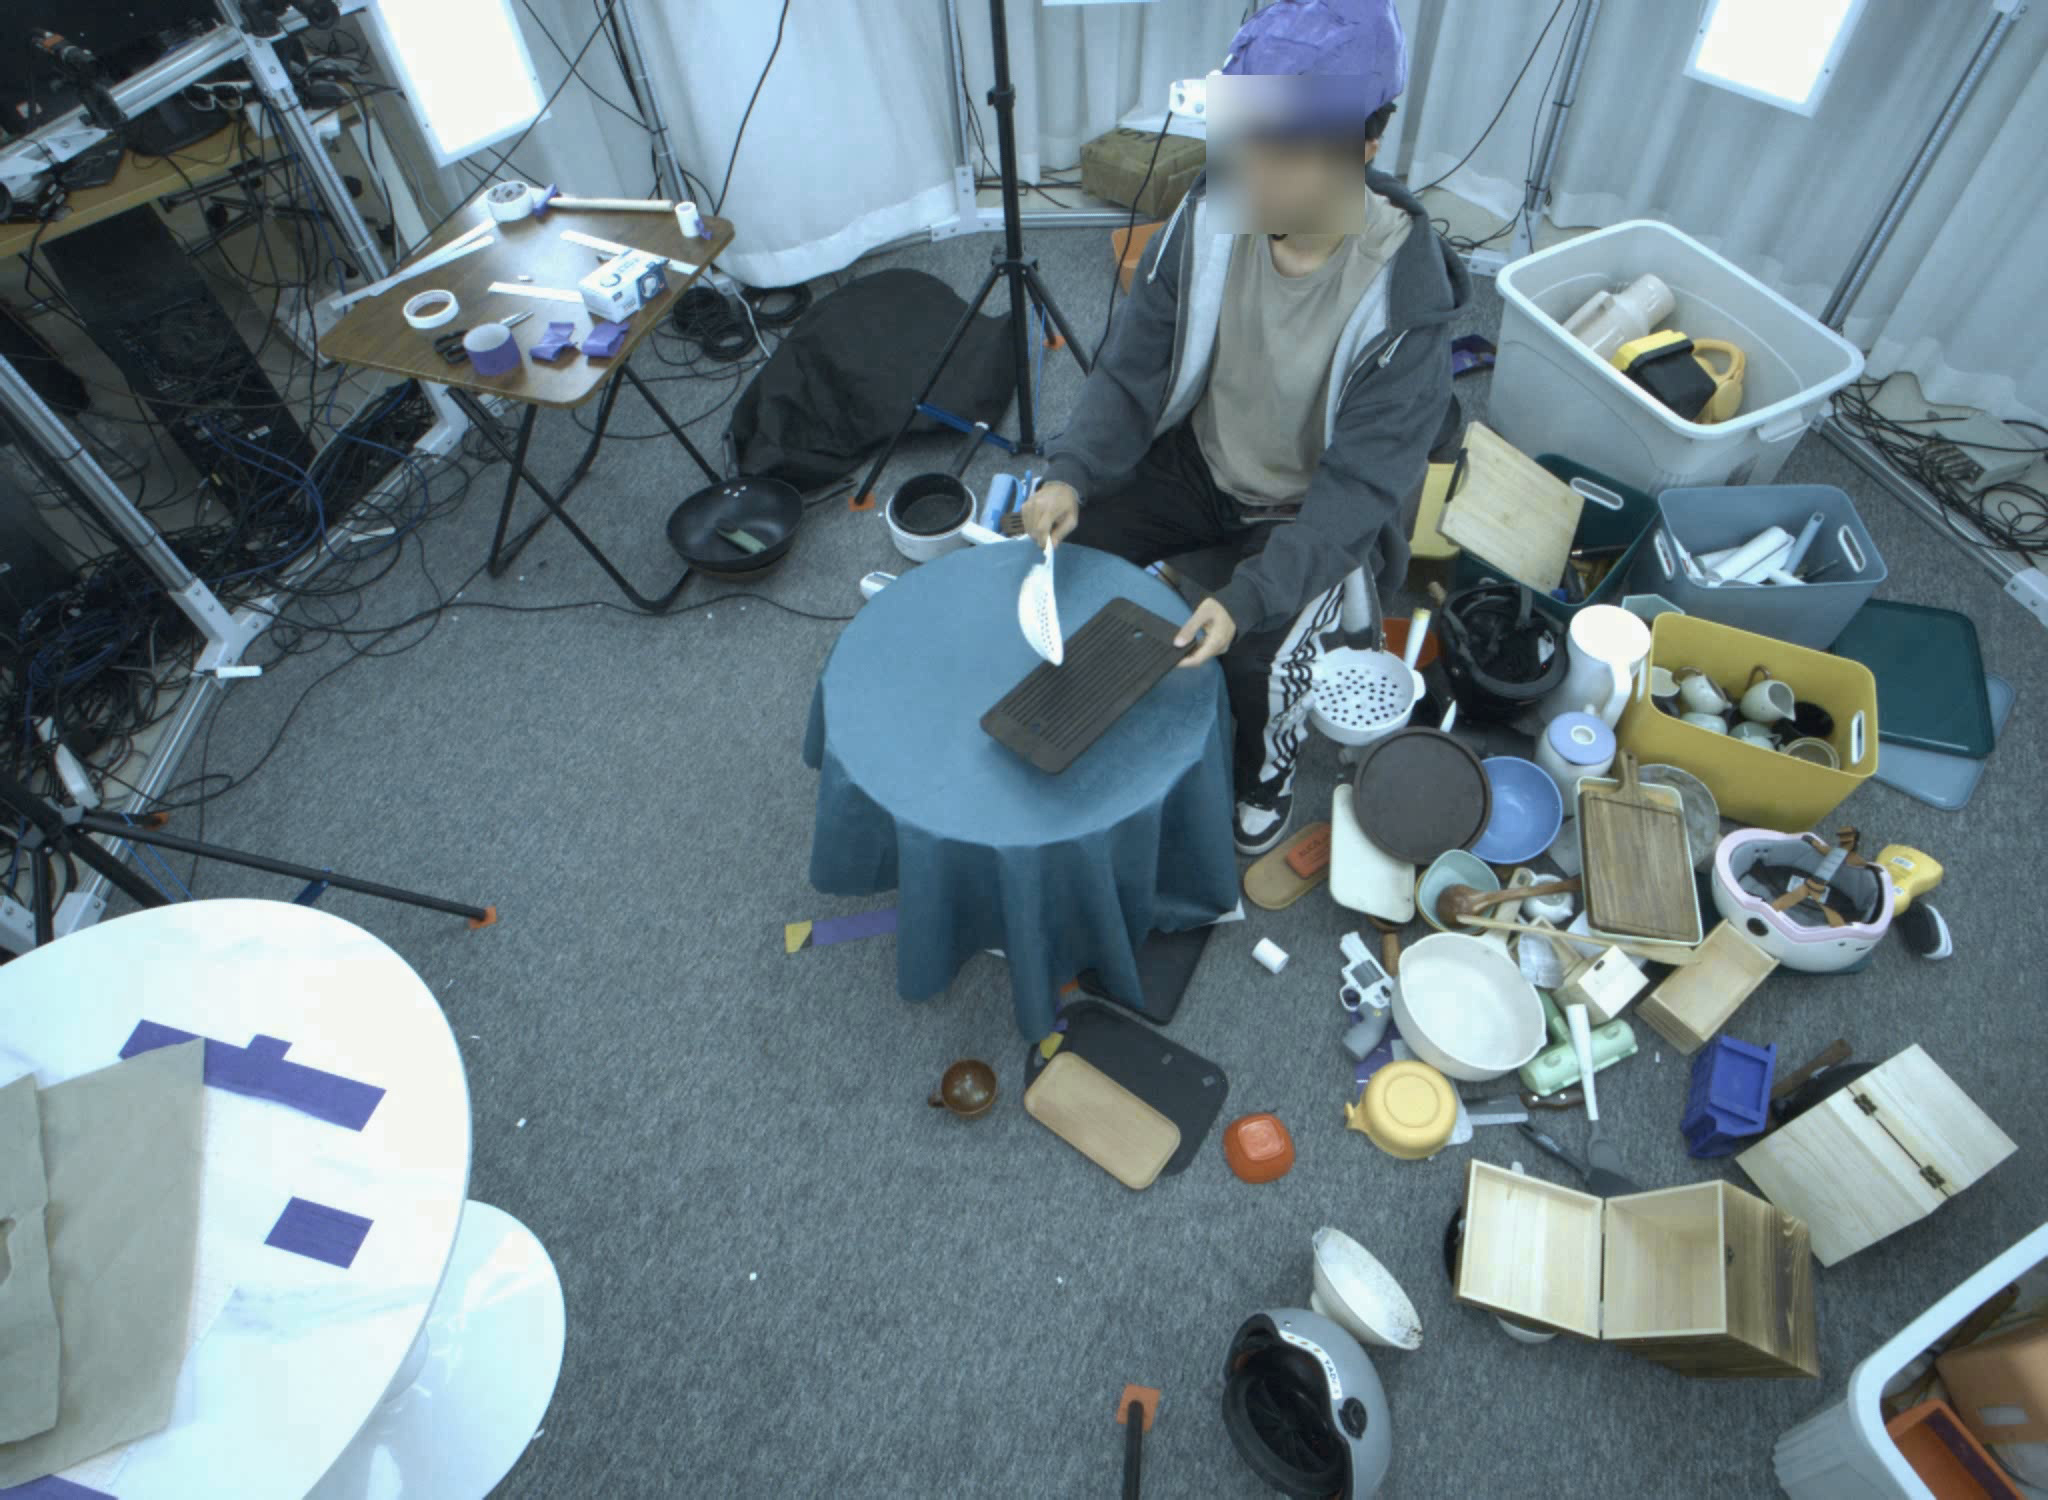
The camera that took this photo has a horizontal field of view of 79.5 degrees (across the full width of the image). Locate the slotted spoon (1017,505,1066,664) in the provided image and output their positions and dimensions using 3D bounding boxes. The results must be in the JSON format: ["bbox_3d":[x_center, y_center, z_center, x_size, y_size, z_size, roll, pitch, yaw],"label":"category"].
[{"bbox_3d":[0.023,-0.260,1.809,0.050,0.139,0.345,-13,42,19],"label":"slotted spoon"}]

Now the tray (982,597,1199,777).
[{"bbox_3d":[0.096,-0.094,1.775,0.307,0.019,0.166,-43,53,-18],"label":"tray"}]
